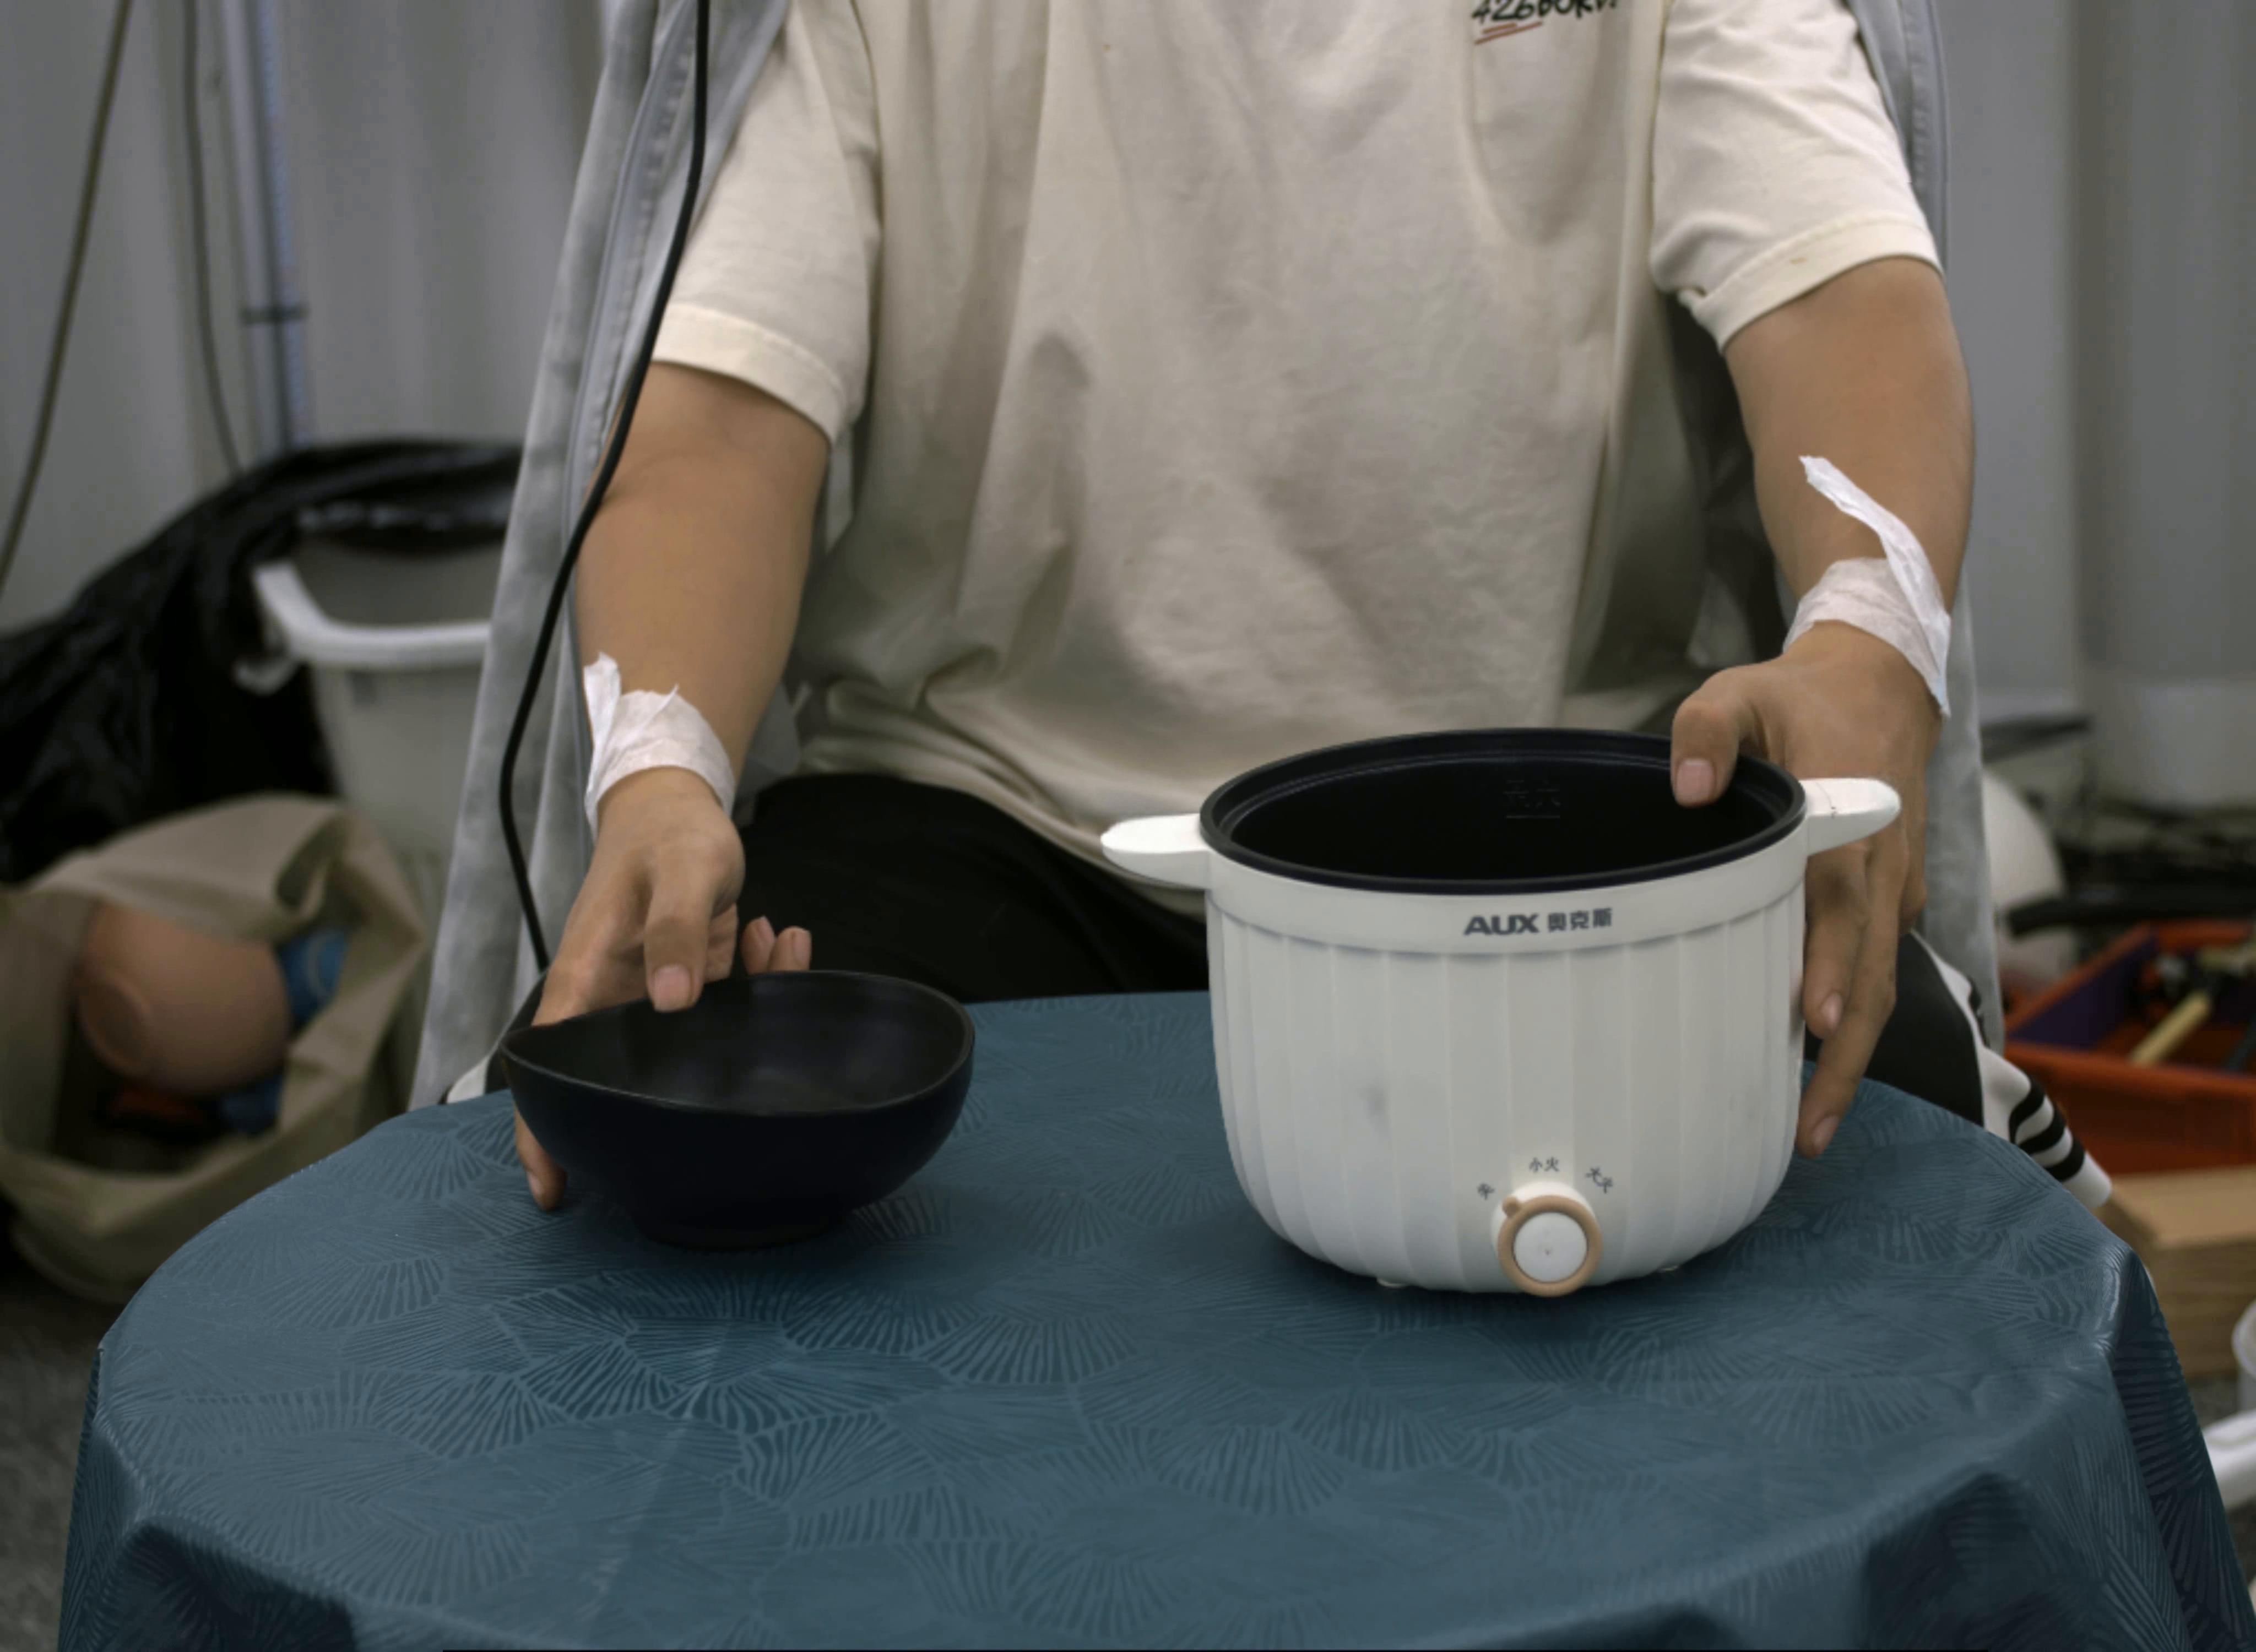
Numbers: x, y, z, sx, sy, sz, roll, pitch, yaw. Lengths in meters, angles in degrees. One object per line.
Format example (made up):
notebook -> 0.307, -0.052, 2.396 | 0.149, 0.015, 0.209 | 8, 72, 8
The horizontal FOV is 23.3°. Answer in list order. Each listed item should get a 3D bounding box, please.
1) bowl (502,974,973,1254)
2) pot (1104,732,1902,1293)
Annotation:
bowl -> -0.122, 0.093, 1.702 | 0.137, 0.066, 0.171 | -13, 17, -38
pot -> 0.116, 0.058, 1.642 | 0.239, 0.142, 0.191 | -4, 11, -2
